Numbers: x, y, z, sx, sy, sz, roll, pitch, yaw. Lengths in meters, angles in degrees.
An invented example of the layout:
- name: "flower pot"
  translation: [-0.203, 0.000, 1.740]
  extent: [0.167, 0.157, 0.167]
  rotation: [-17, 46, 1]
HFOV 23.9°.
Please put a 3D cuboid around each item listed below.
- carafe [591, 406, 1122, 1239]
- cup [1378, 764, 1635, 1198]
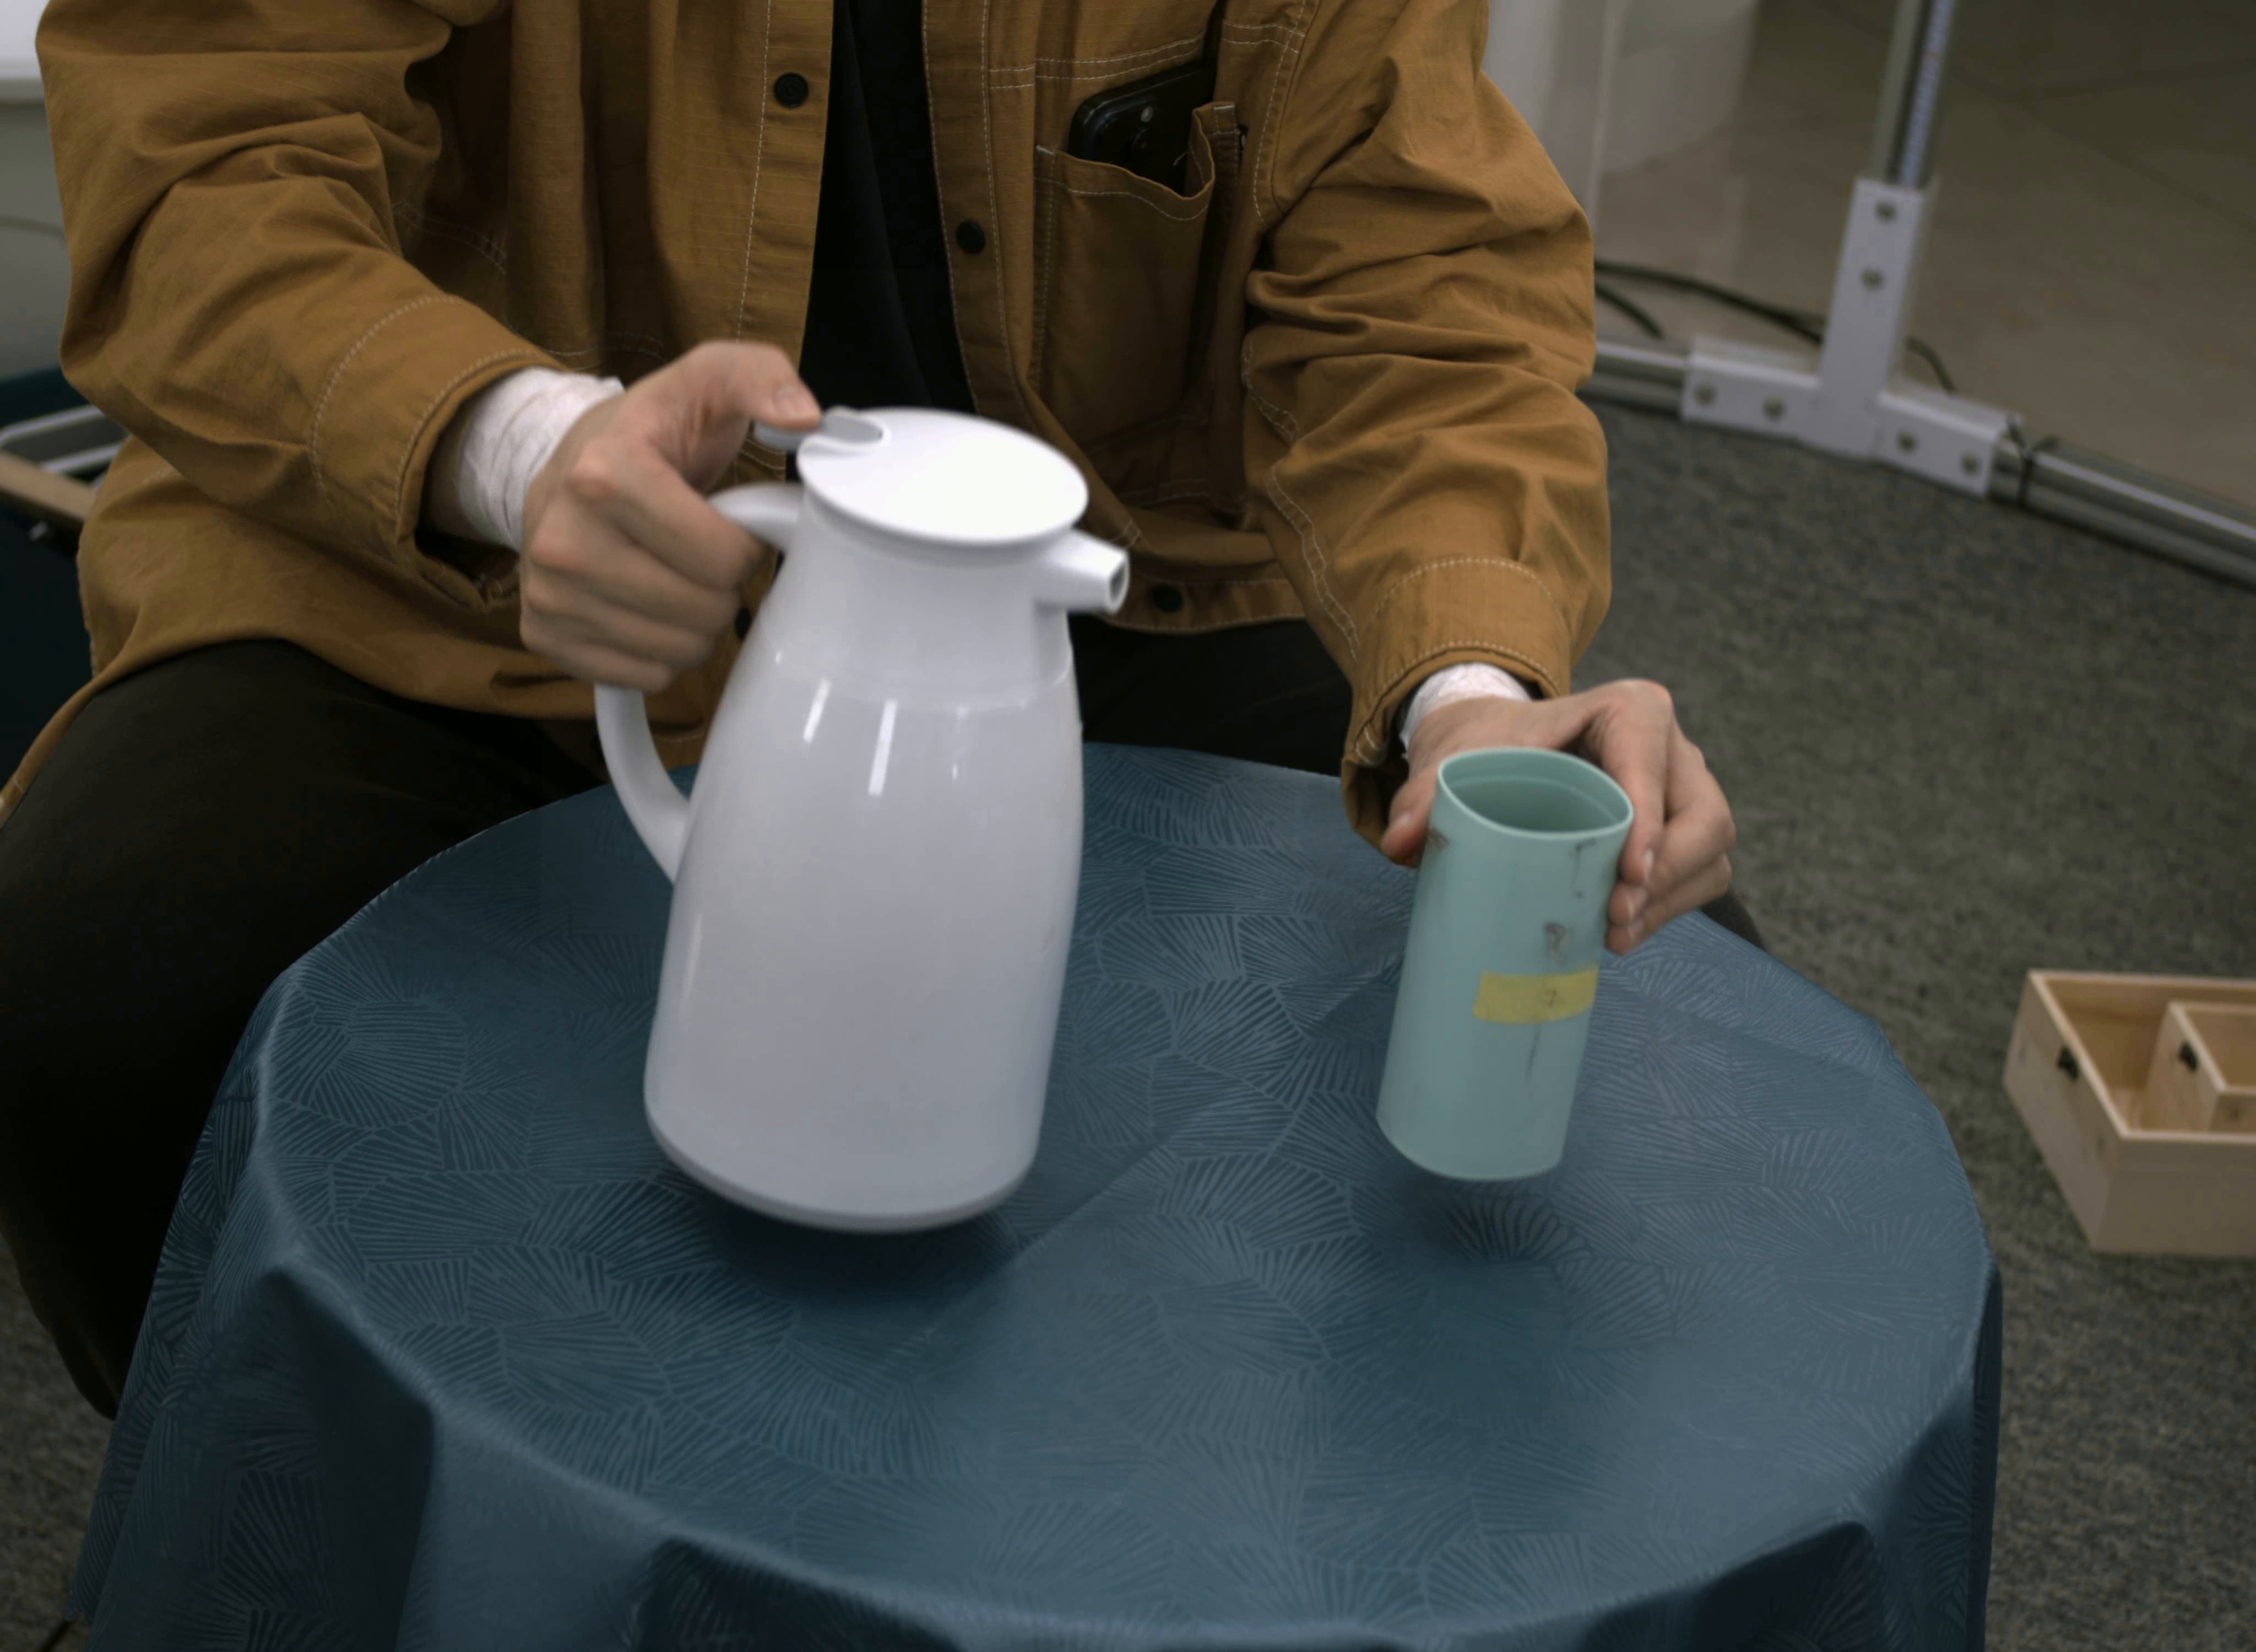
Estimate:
- name: "carafe"
  translation: [-0.095, -0.011, 1.709]
  extent: [0.168, 0.248, 0.133]
  rotation: [16, 28, 13]
- name: "cup"
  translation: [0.124, 0.050, 1.762]
  extent: [0.066, 0.132, 0.067]
  rotation: [7, 26, -4]
